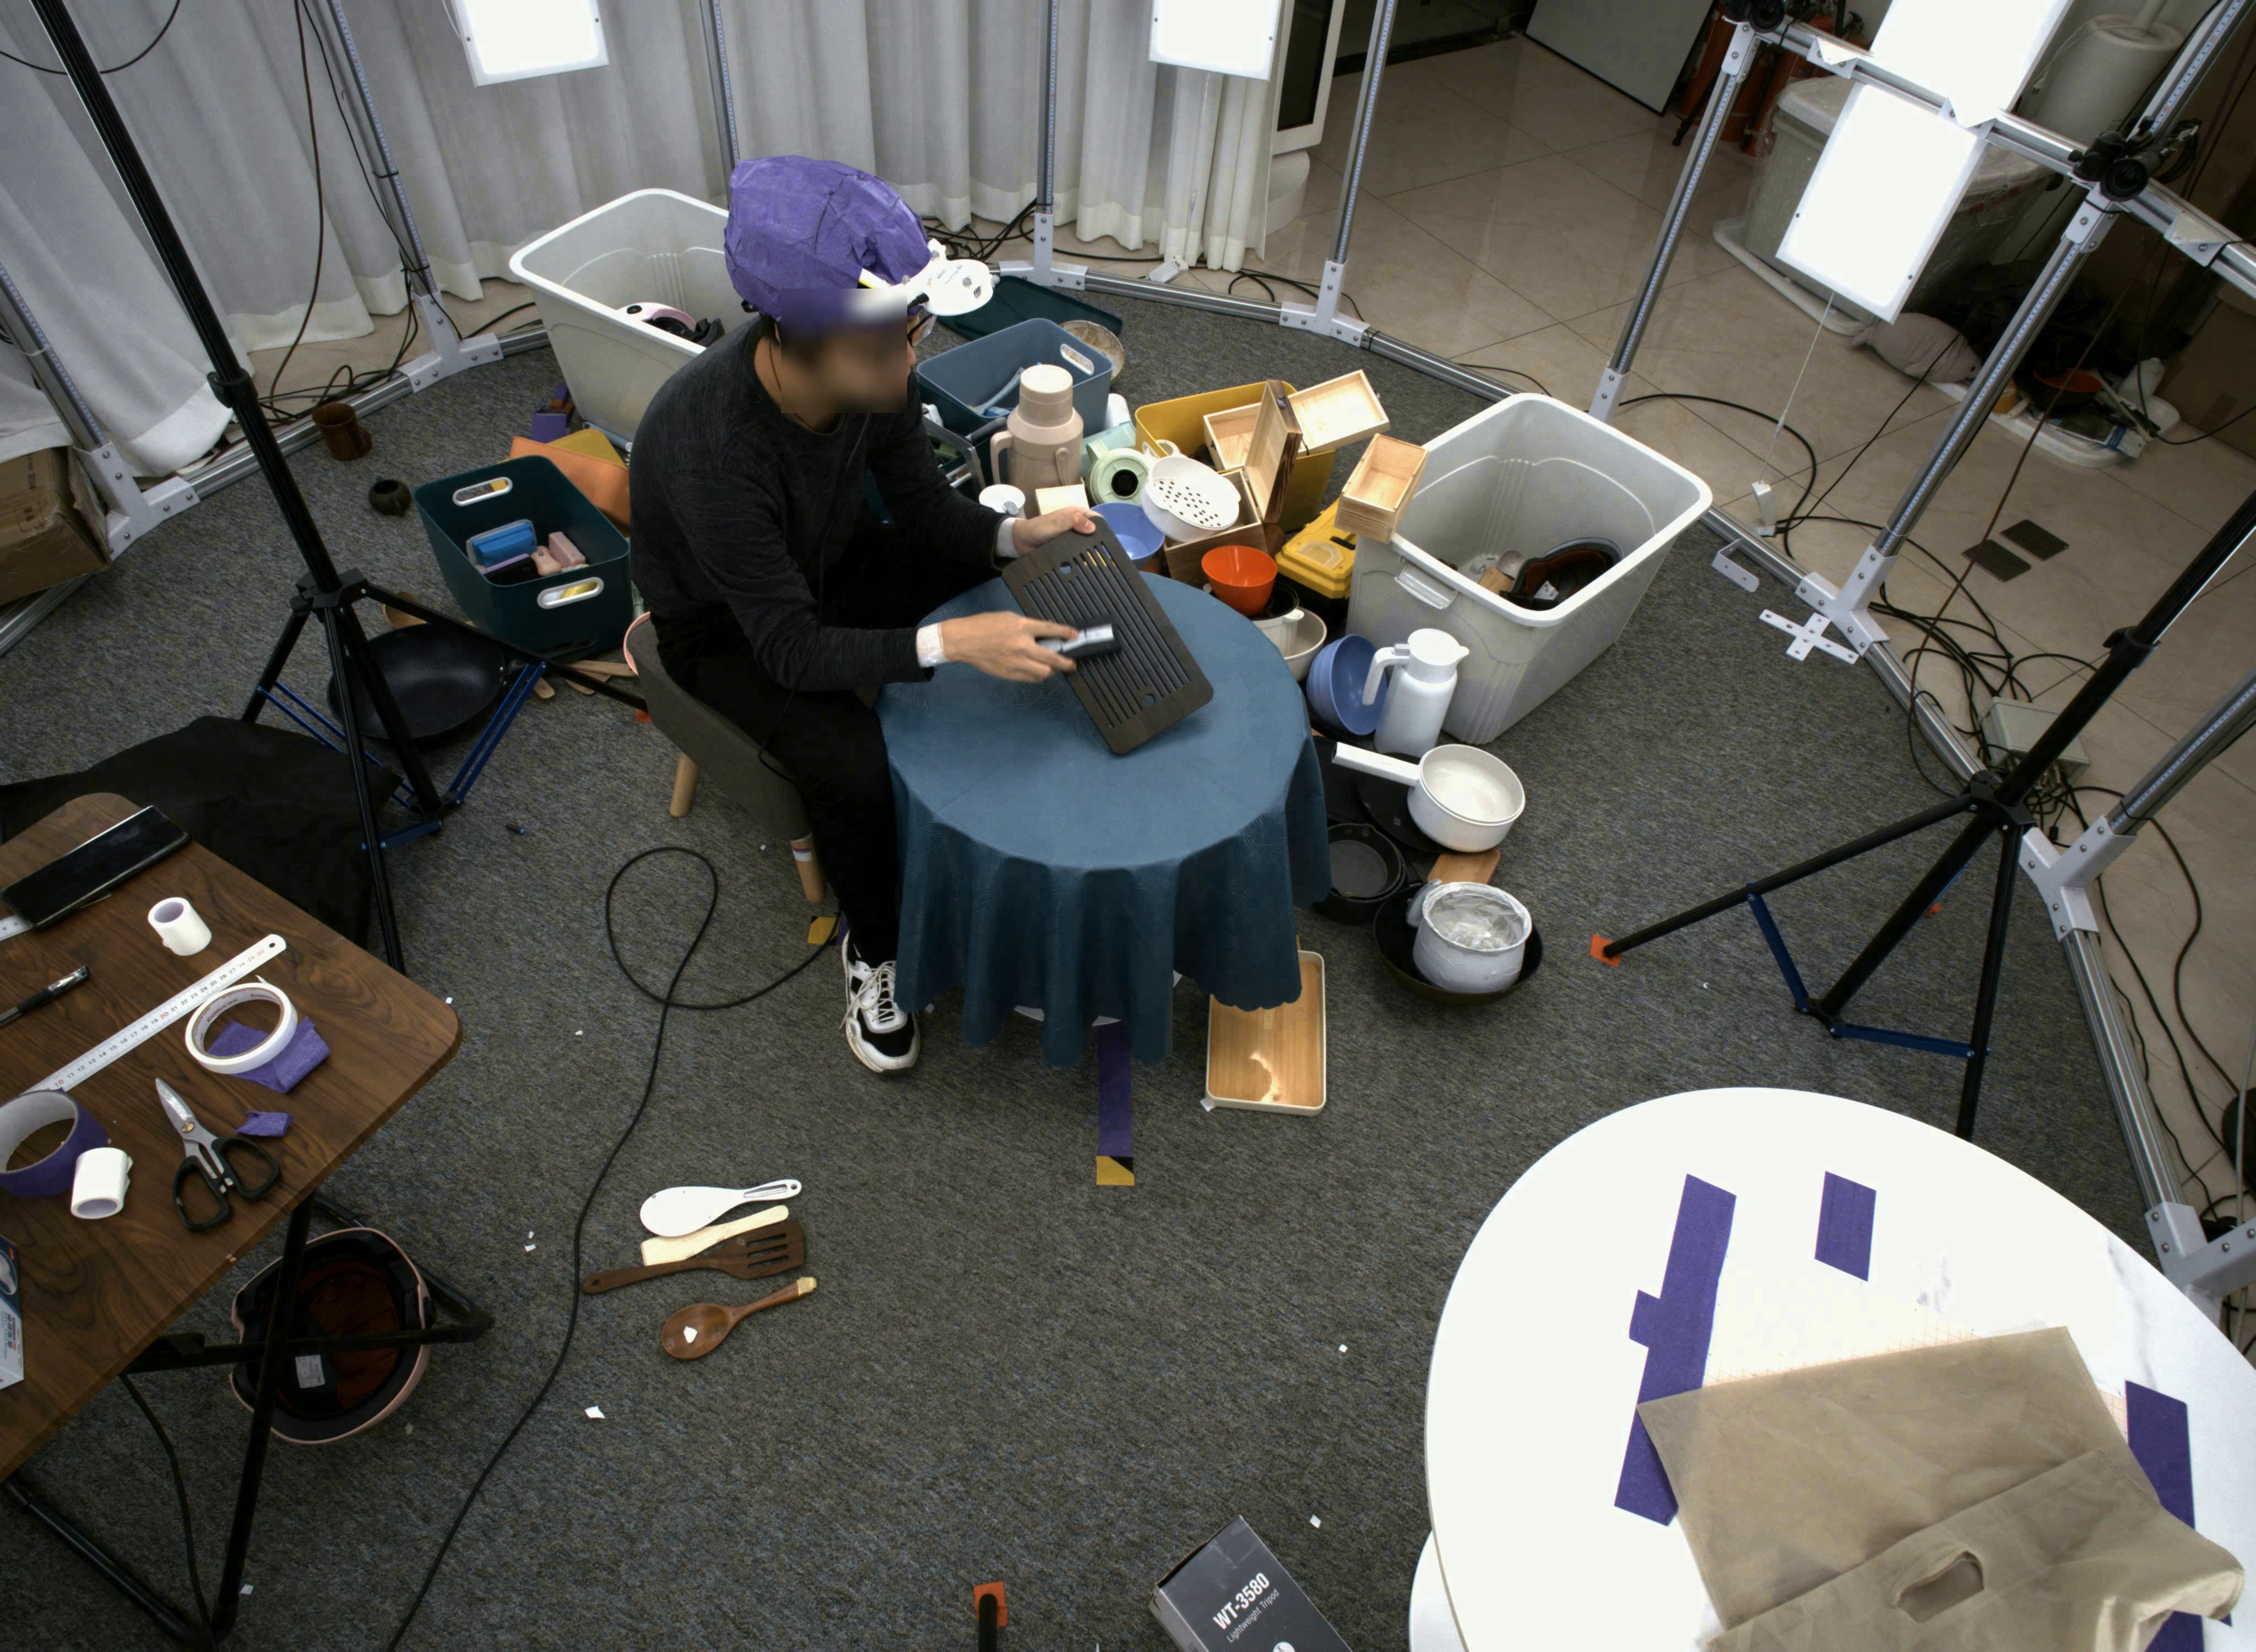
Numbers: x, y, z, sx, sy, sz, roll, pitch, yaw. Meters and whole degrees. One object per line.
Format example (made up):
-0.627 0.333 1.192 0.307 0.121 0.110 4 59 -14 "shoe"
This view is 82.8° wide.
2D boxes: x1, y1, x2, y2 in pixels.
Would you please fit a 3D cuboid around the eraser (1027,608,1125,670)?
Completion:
-0.071 -0.255 1.748 0.125 0.030 0.054 -17 82 -10 "eraser"

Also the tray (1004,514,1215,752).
-0.025 -0.268 1.779 0.171 0.018 0.306 -32 87 -13 "tray"
